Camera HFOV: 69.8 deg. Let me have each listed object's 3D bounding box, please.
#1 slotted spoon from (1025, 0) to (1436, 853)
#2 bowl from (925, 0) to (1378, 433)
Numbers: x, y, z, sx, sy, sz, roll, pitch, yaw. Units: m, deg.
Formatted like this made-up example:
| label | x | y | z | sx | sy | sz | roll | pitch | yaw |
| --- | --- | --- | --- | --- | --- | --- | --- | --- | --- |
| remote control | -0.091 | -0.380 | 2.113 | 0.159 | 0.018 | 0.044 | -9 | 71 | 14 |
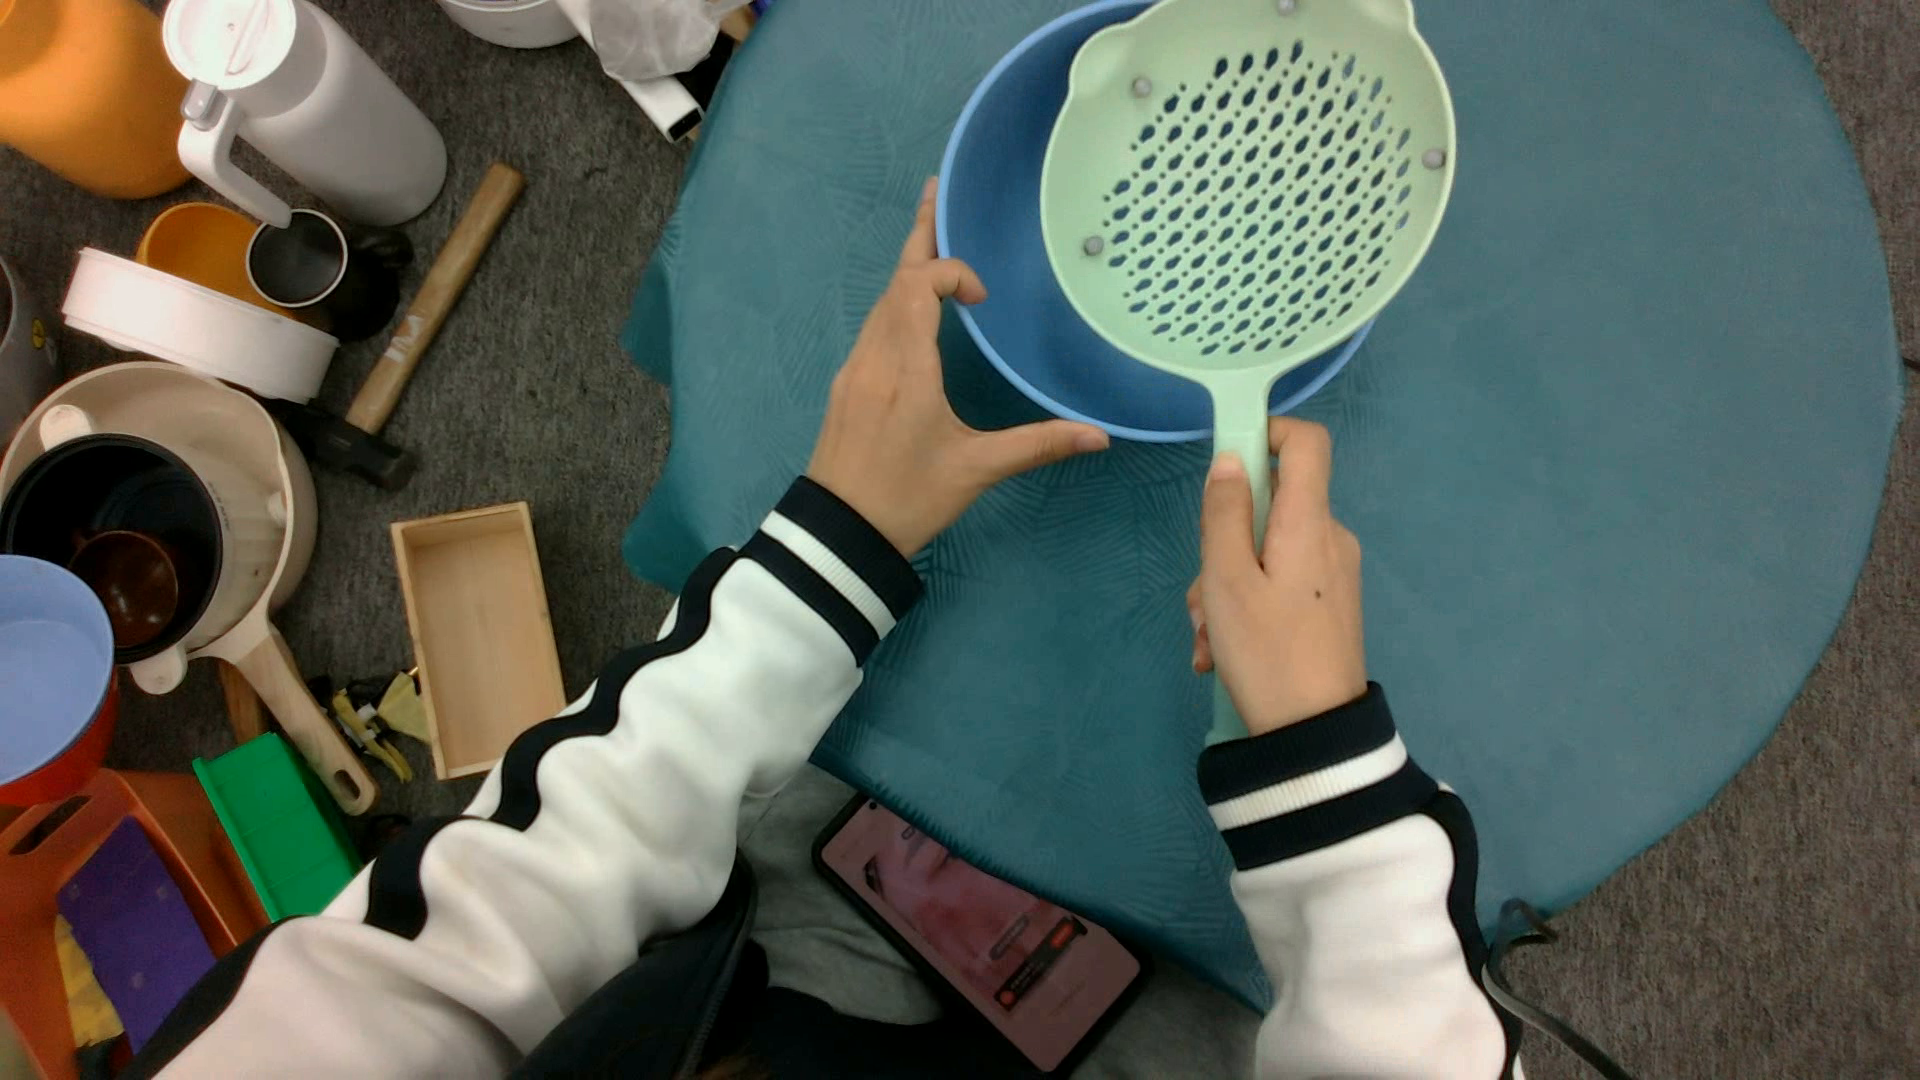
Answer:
| label | x | y | z | sx | sy | sz | roll | pitch | yaw |
| --- | --- | --- | --- | --- | --- | --- | --- | --- | --- |
| slotted spoon | 0.110 | -0.058 | 0.562 | 0.169 | 0.075 | 0.359 | -3 | 74 | 25 |
| bowl | 0.082 | -0.138 | 0.632 | 0.196 | 0.095 | 0.196 | 0 | 83 | -1 |
